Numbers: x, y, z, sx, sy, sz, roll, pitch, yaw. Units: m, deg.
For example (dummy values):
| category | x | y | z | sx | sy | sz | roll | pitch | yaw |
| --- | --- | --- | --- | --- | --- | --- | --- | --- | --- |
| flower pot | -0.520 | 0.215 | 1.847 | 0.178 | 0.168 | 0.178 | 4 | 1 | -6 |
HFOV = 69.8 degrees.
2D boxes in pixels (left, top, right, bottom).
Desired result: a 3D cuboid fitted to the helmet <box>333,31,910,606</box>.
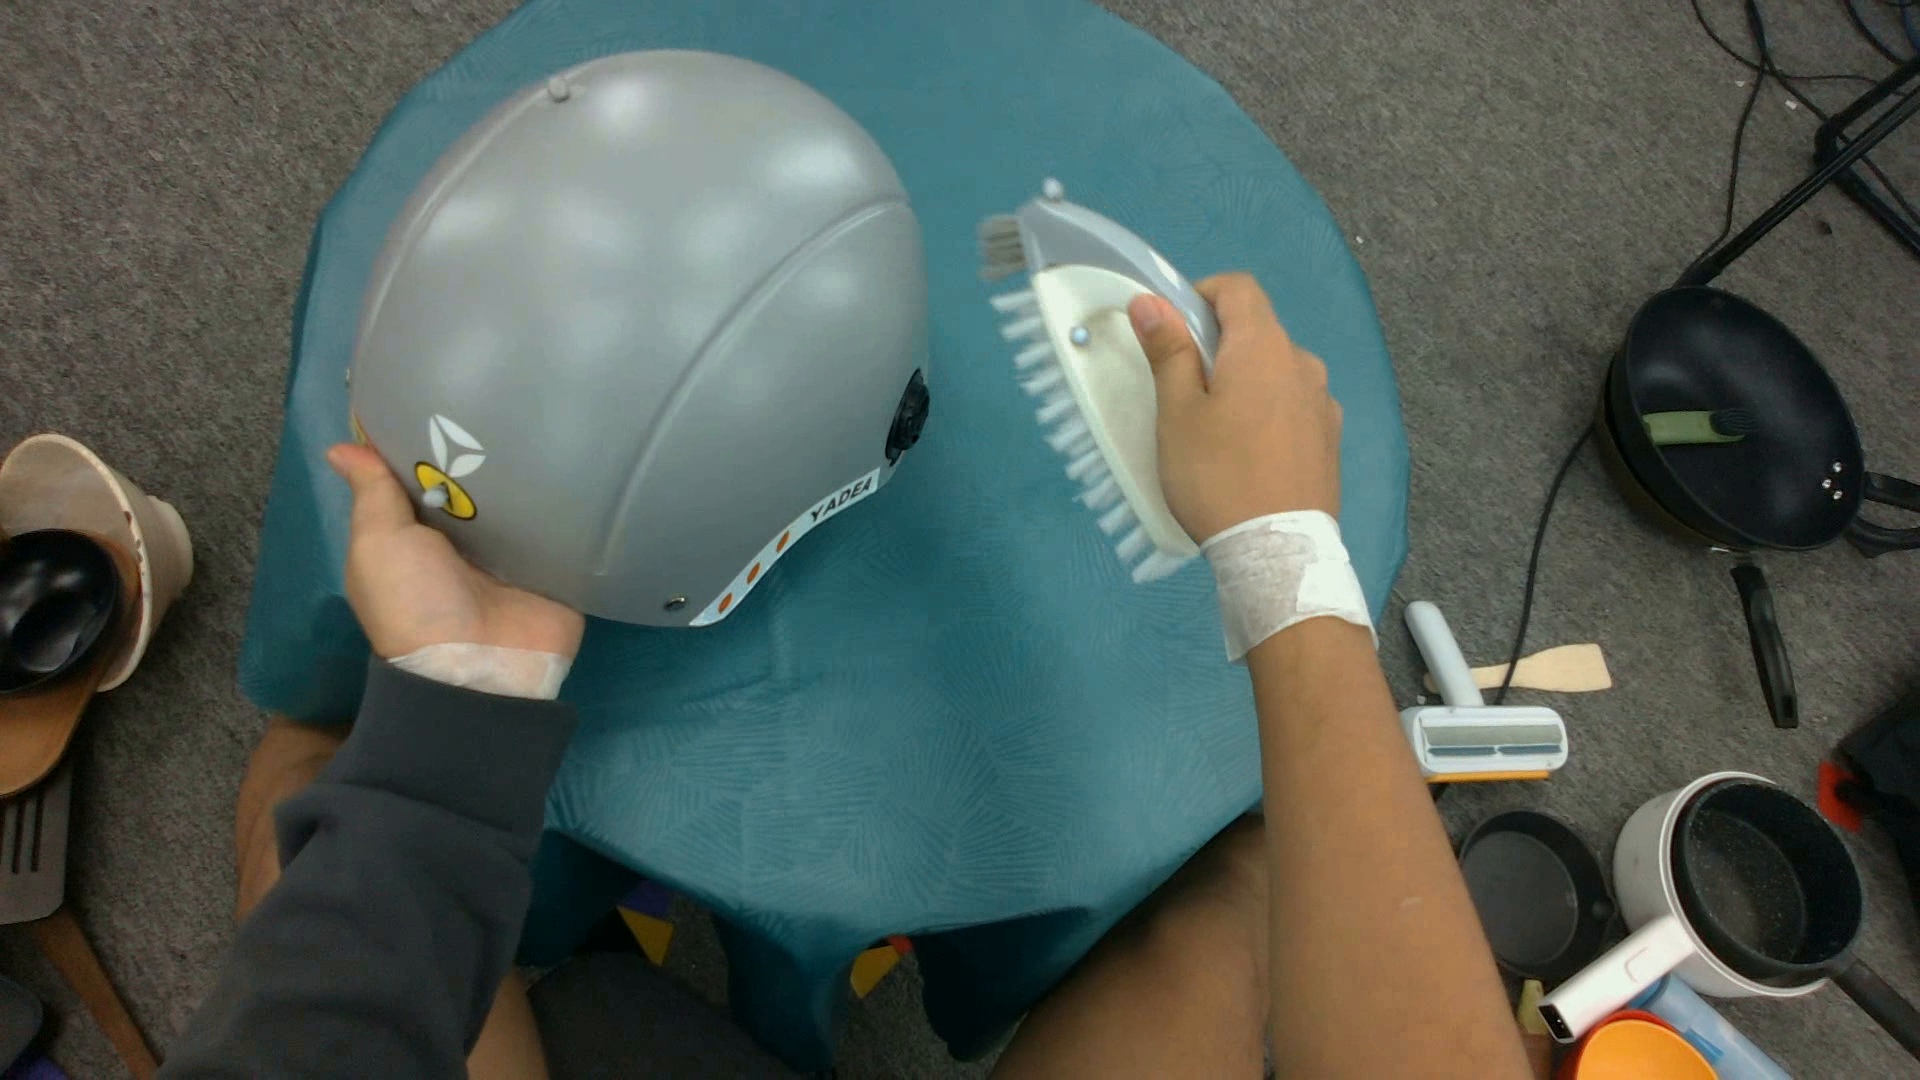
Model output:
| category | x | y | z | sx | sy | sz | roll | pitch | yaw |
| --- | --- | --- | --- | --- | --- | --- | --- | --- | --- |
| helmet | -0.128 | -0.118 | 0.579 | 0.232 | 0.168 | 0.277 | 34 | 59 | 3 |

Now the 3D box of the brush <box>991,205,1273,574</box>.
| category | x | y | z | sx | sy | sz | roll | pitch | yaw |
| --- | --- | --- | --- | --- | --- | --- | --- | --- | --- |
| brush | 0.077 | -0.079 | 0.608 | 0.062 | 0.094 | 0.175 | -21 | 80 | -40 |
